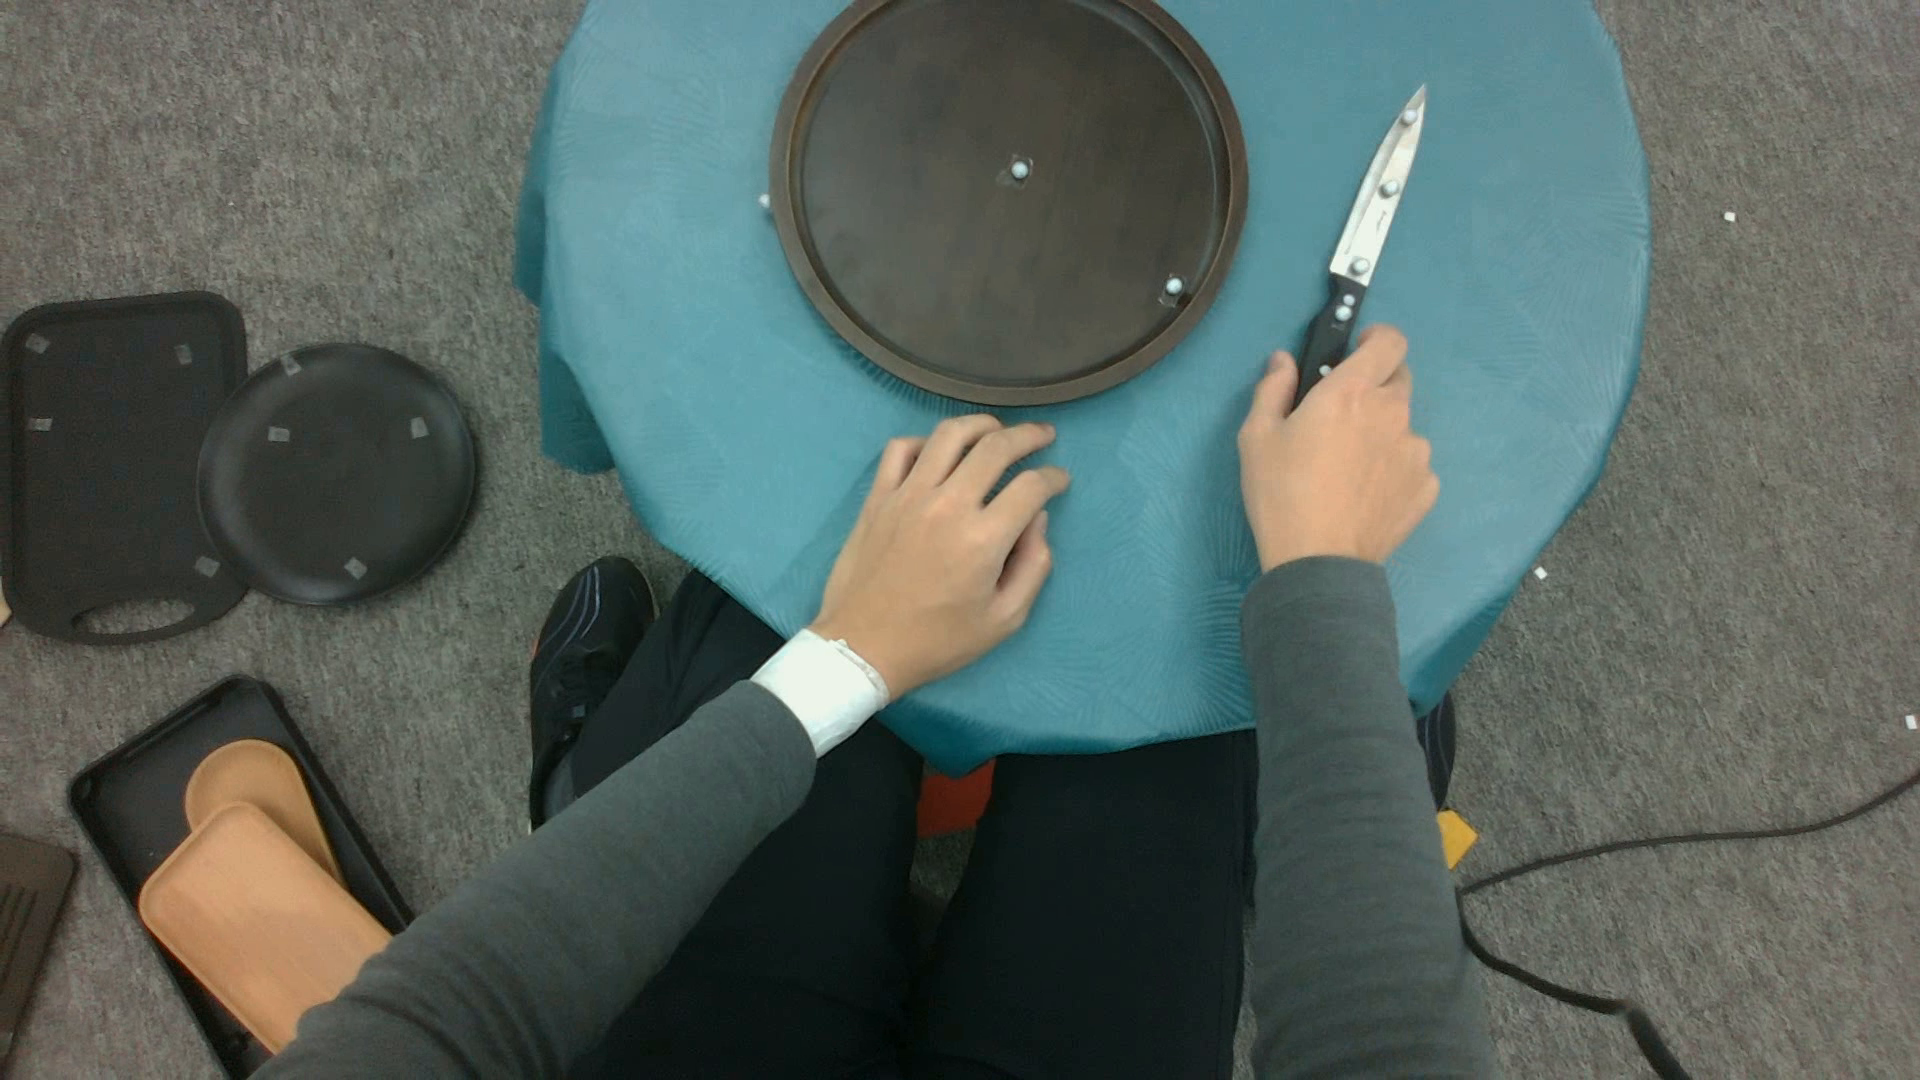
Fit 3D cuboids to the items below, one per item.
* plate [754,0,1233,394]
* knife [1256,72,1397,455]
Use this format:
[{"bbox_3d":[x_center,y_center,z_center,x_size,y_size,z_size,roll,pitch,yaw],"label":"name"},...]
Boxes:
[{"bbox_3d":[0.019,-0.198,0.733,0.255,0.029,0.255,1,78,-2],"label":"plate"},{"bbox_3d":[0.203,-0.151,0.739,0.024,0.016,0.239,23,76,-6],"label":"knife"}]
